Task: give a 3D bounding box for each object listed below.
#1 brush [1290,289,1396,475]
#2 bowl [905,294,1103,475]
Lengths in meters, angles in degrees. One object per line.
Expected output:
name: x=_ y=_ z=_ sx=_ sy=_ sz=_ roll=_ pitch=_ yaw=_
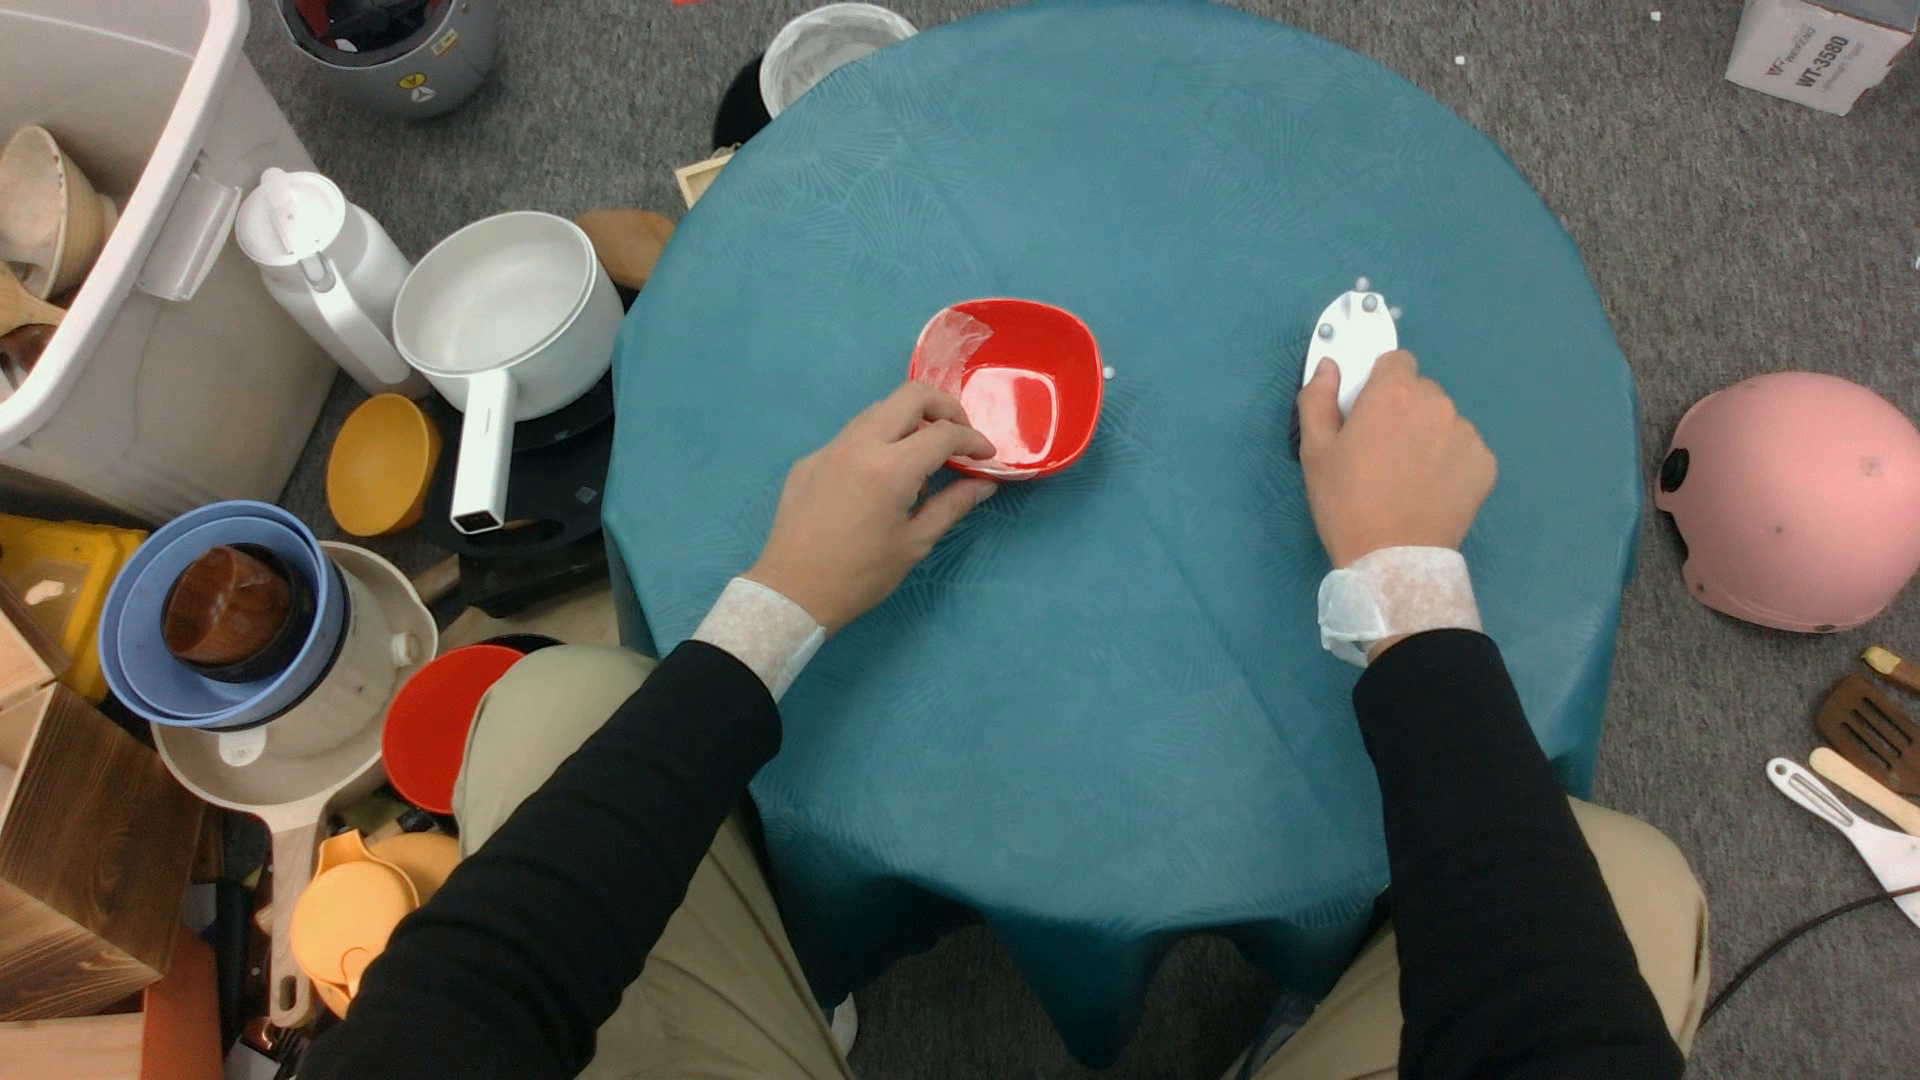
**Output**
brush: x=0.220 y=-0.095 z=0.776 sx=0.050 sy=0.072 sz=0.099 roll=12 pitch=70 yaw=7
bowl: x=0.024 y=-0.081 z=0.788 sx=0.119 sy=0.051 sz=0.119 roll=0 pitch=66 yaw=0
